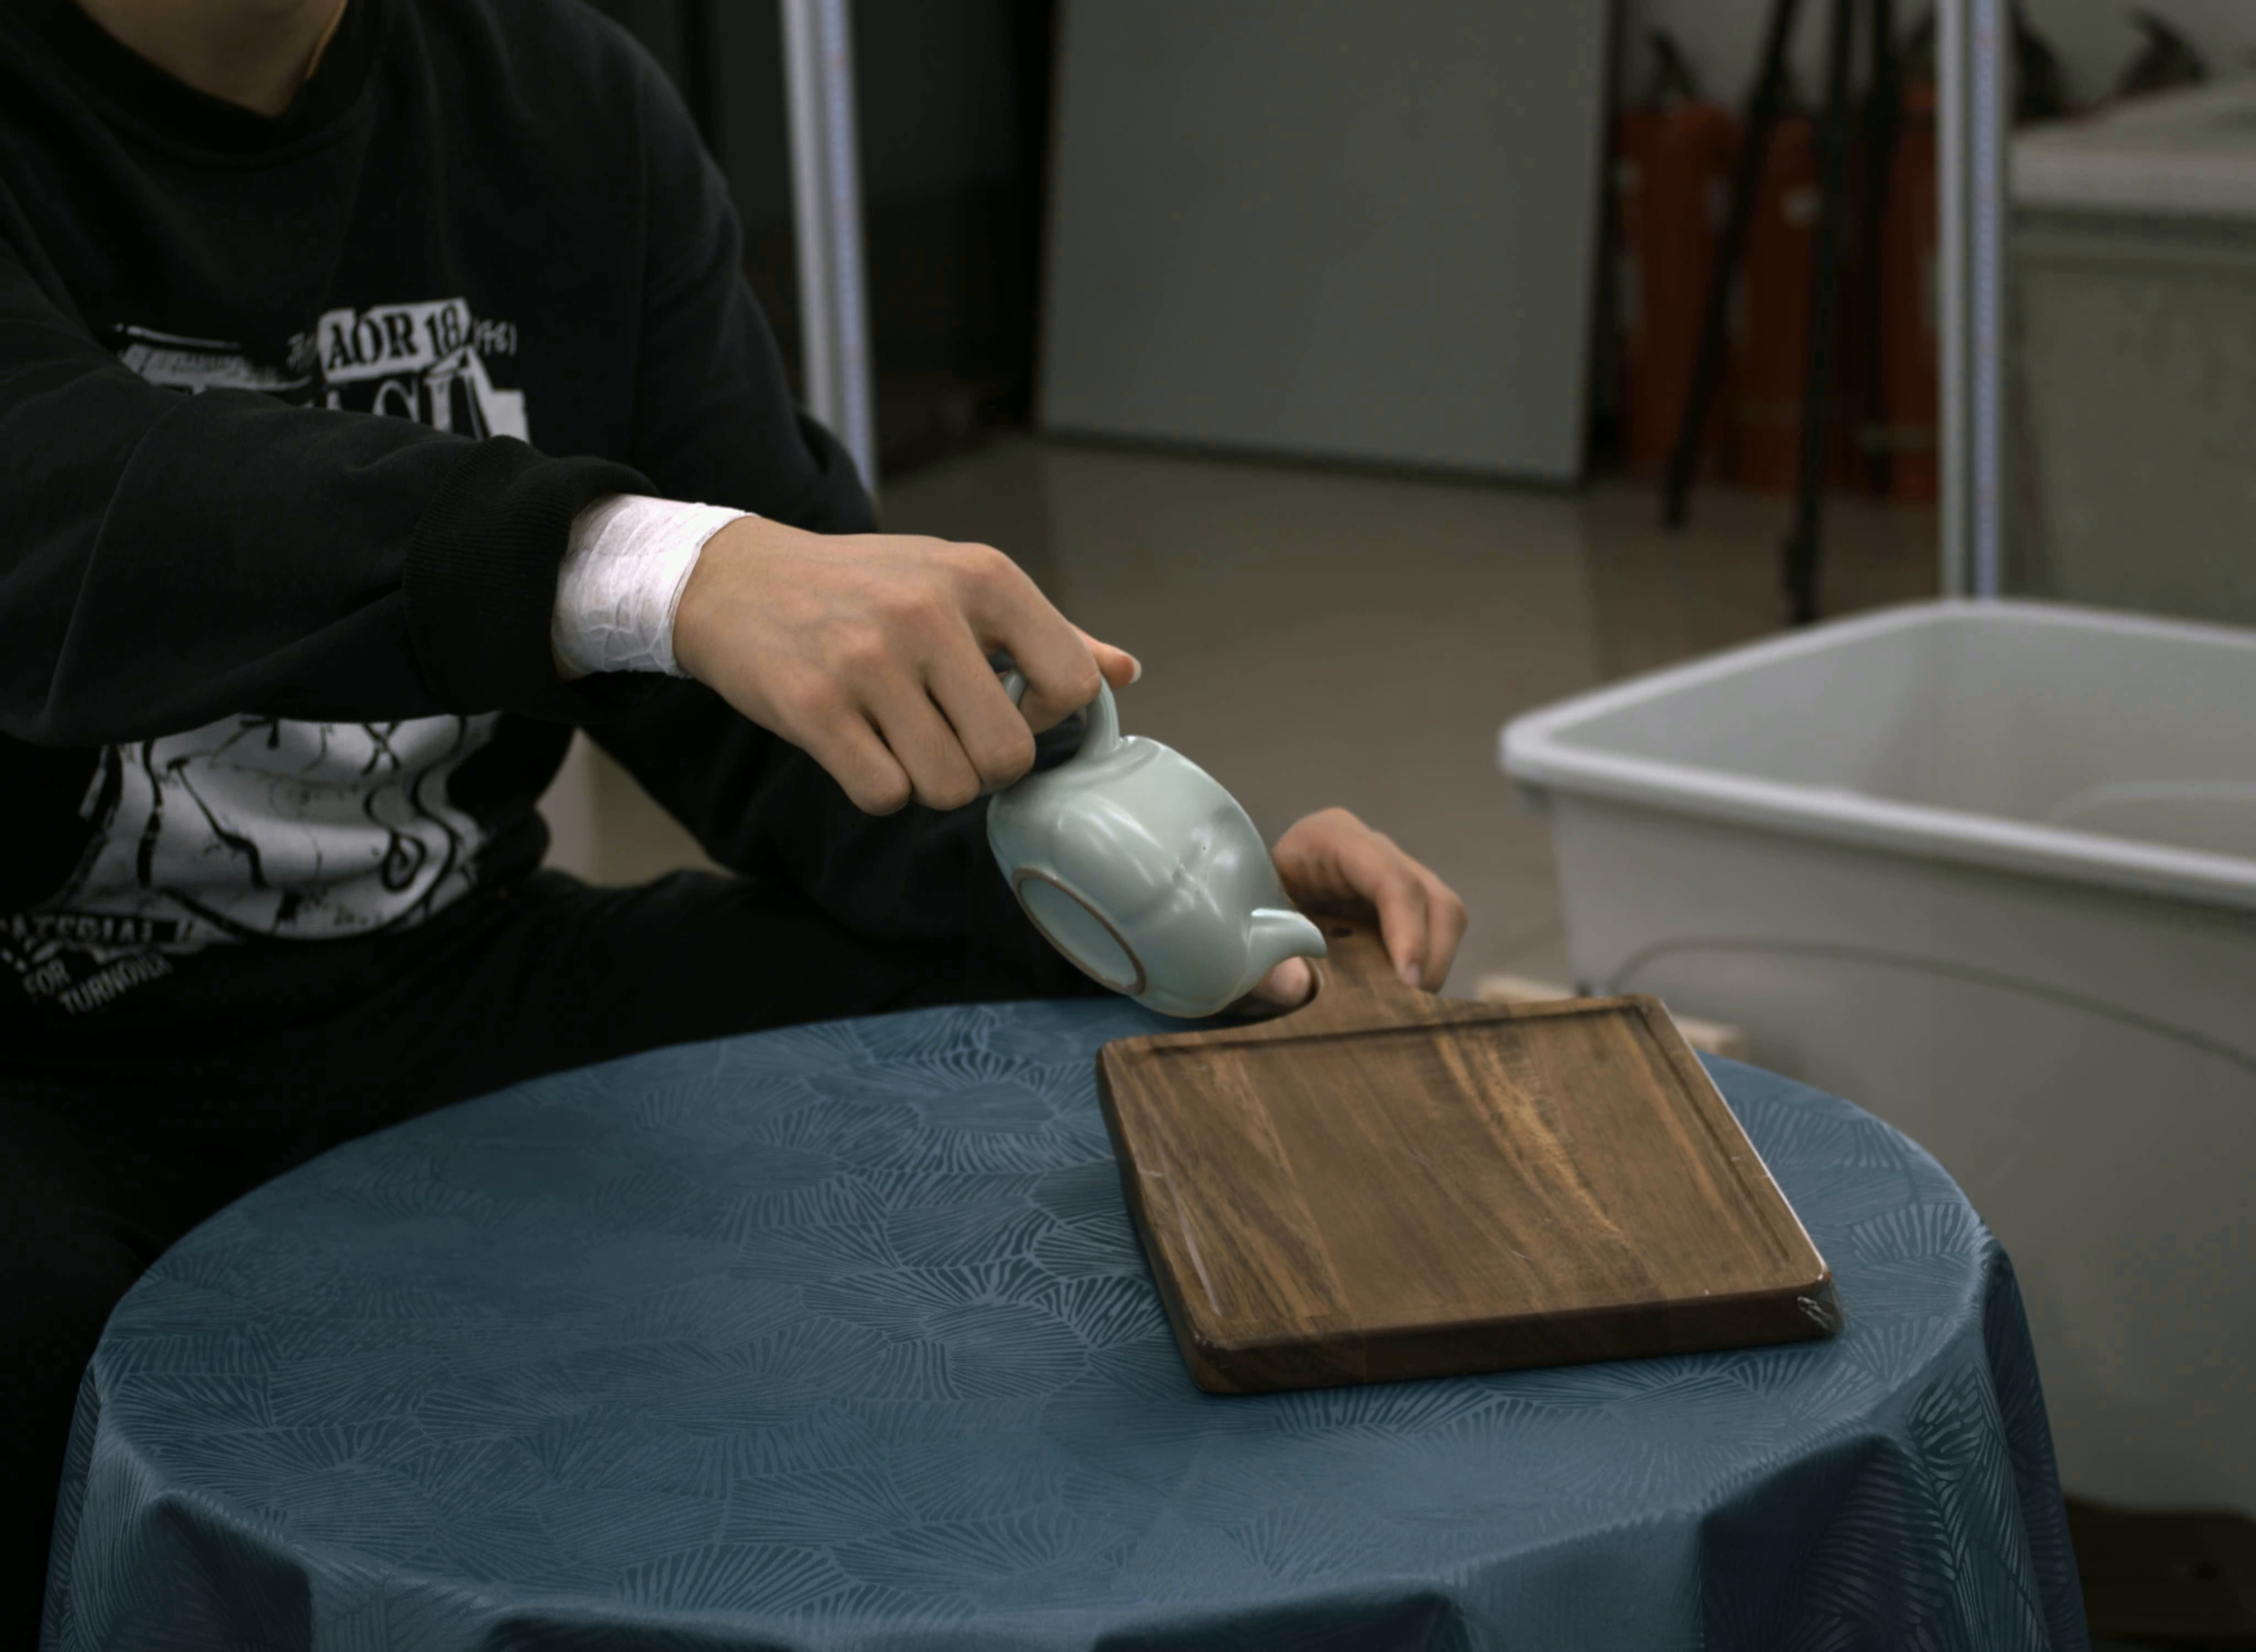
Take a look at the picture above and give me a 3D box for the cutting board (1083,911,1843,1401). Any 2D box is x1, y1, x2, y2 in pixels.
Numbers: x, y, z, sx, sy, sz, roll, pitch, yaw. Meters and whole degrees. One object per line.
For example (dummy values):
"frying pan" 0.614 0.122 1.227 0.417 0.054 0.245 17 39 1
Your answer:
"cutting board" 0.092 0.095 1.742 0.198 0.023 0.354 -6 19 -6

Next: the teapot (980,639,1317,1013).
"teapot" -0.001 0.007 1.636 0.061 0.136 0.097 -46 18 -17
